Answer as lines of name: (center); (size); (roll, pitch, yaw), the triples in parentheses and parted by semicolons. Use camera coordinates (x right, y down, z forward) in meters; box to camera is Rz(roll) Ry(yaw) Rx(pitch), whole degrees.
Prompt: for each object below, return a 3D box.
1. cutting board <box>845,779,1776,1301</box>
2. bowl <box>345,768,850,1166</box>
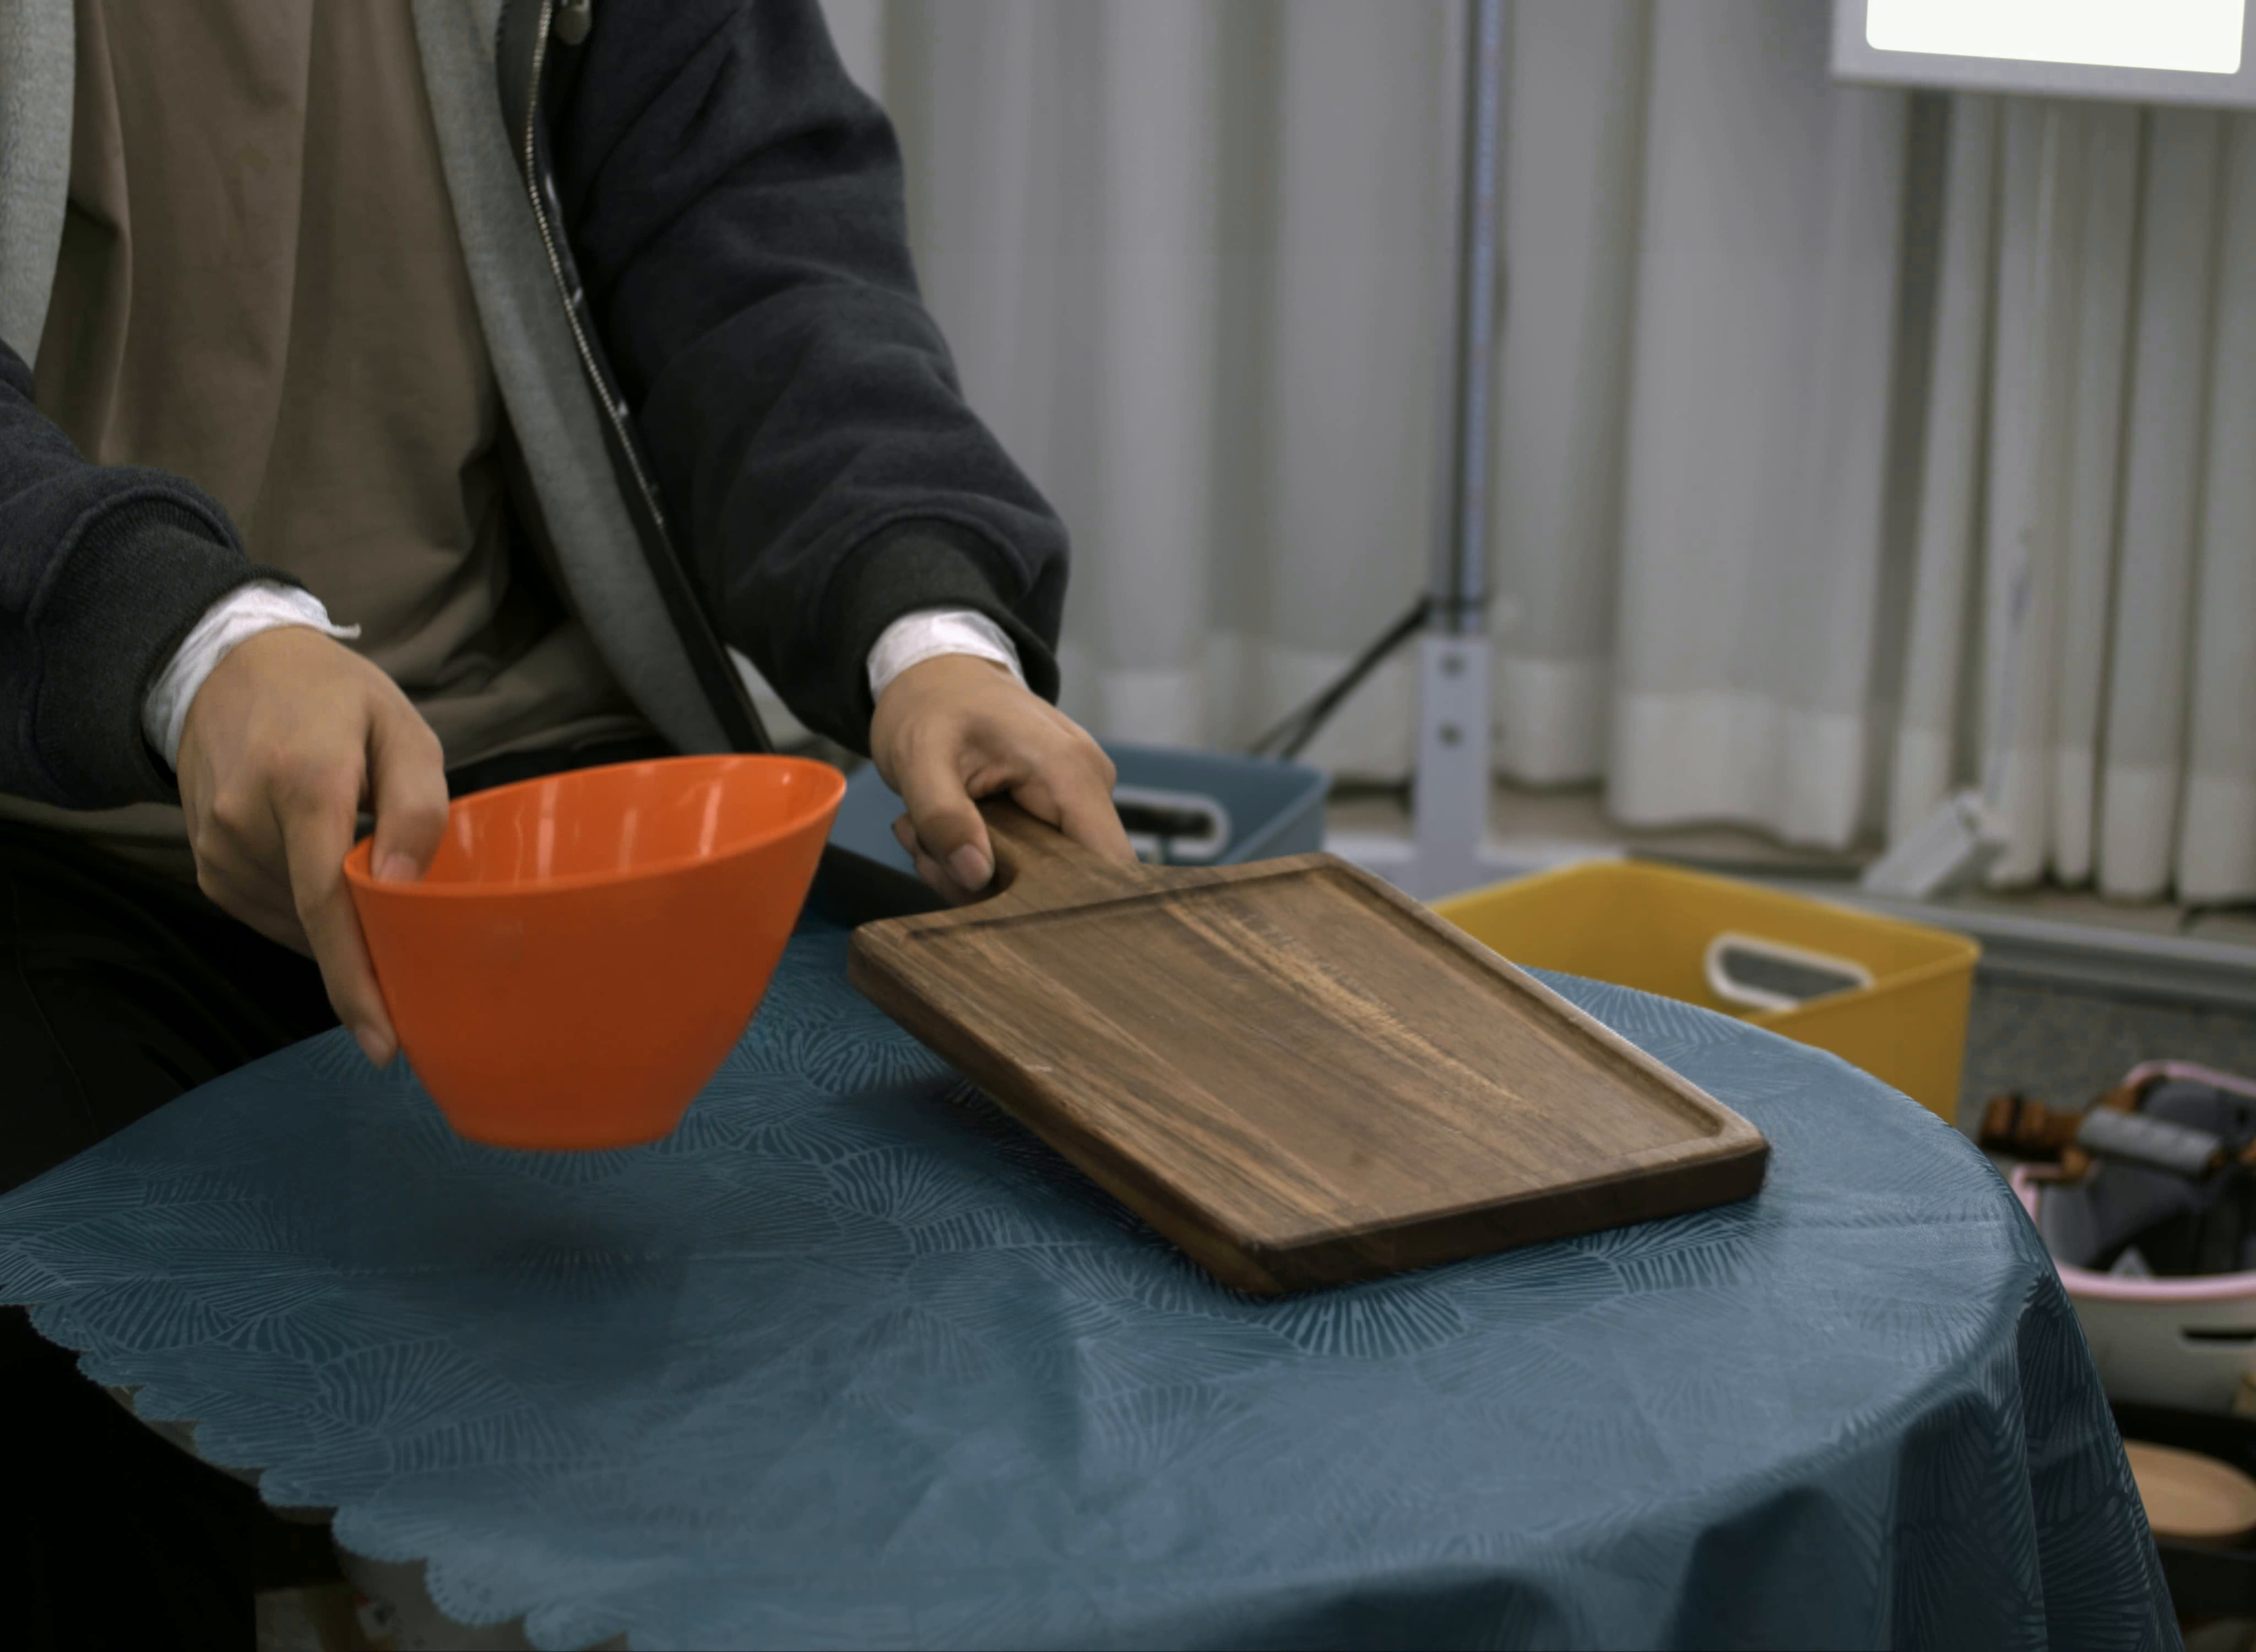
cutting board: (0.028, 0.055, 1.702); (0.202, 0.023, 0.347); (-9, 26, -32)
bowl: (-0.155, 0.042, 1.548); (0.147, 0.105, 0.147); (1, 10, 0)
